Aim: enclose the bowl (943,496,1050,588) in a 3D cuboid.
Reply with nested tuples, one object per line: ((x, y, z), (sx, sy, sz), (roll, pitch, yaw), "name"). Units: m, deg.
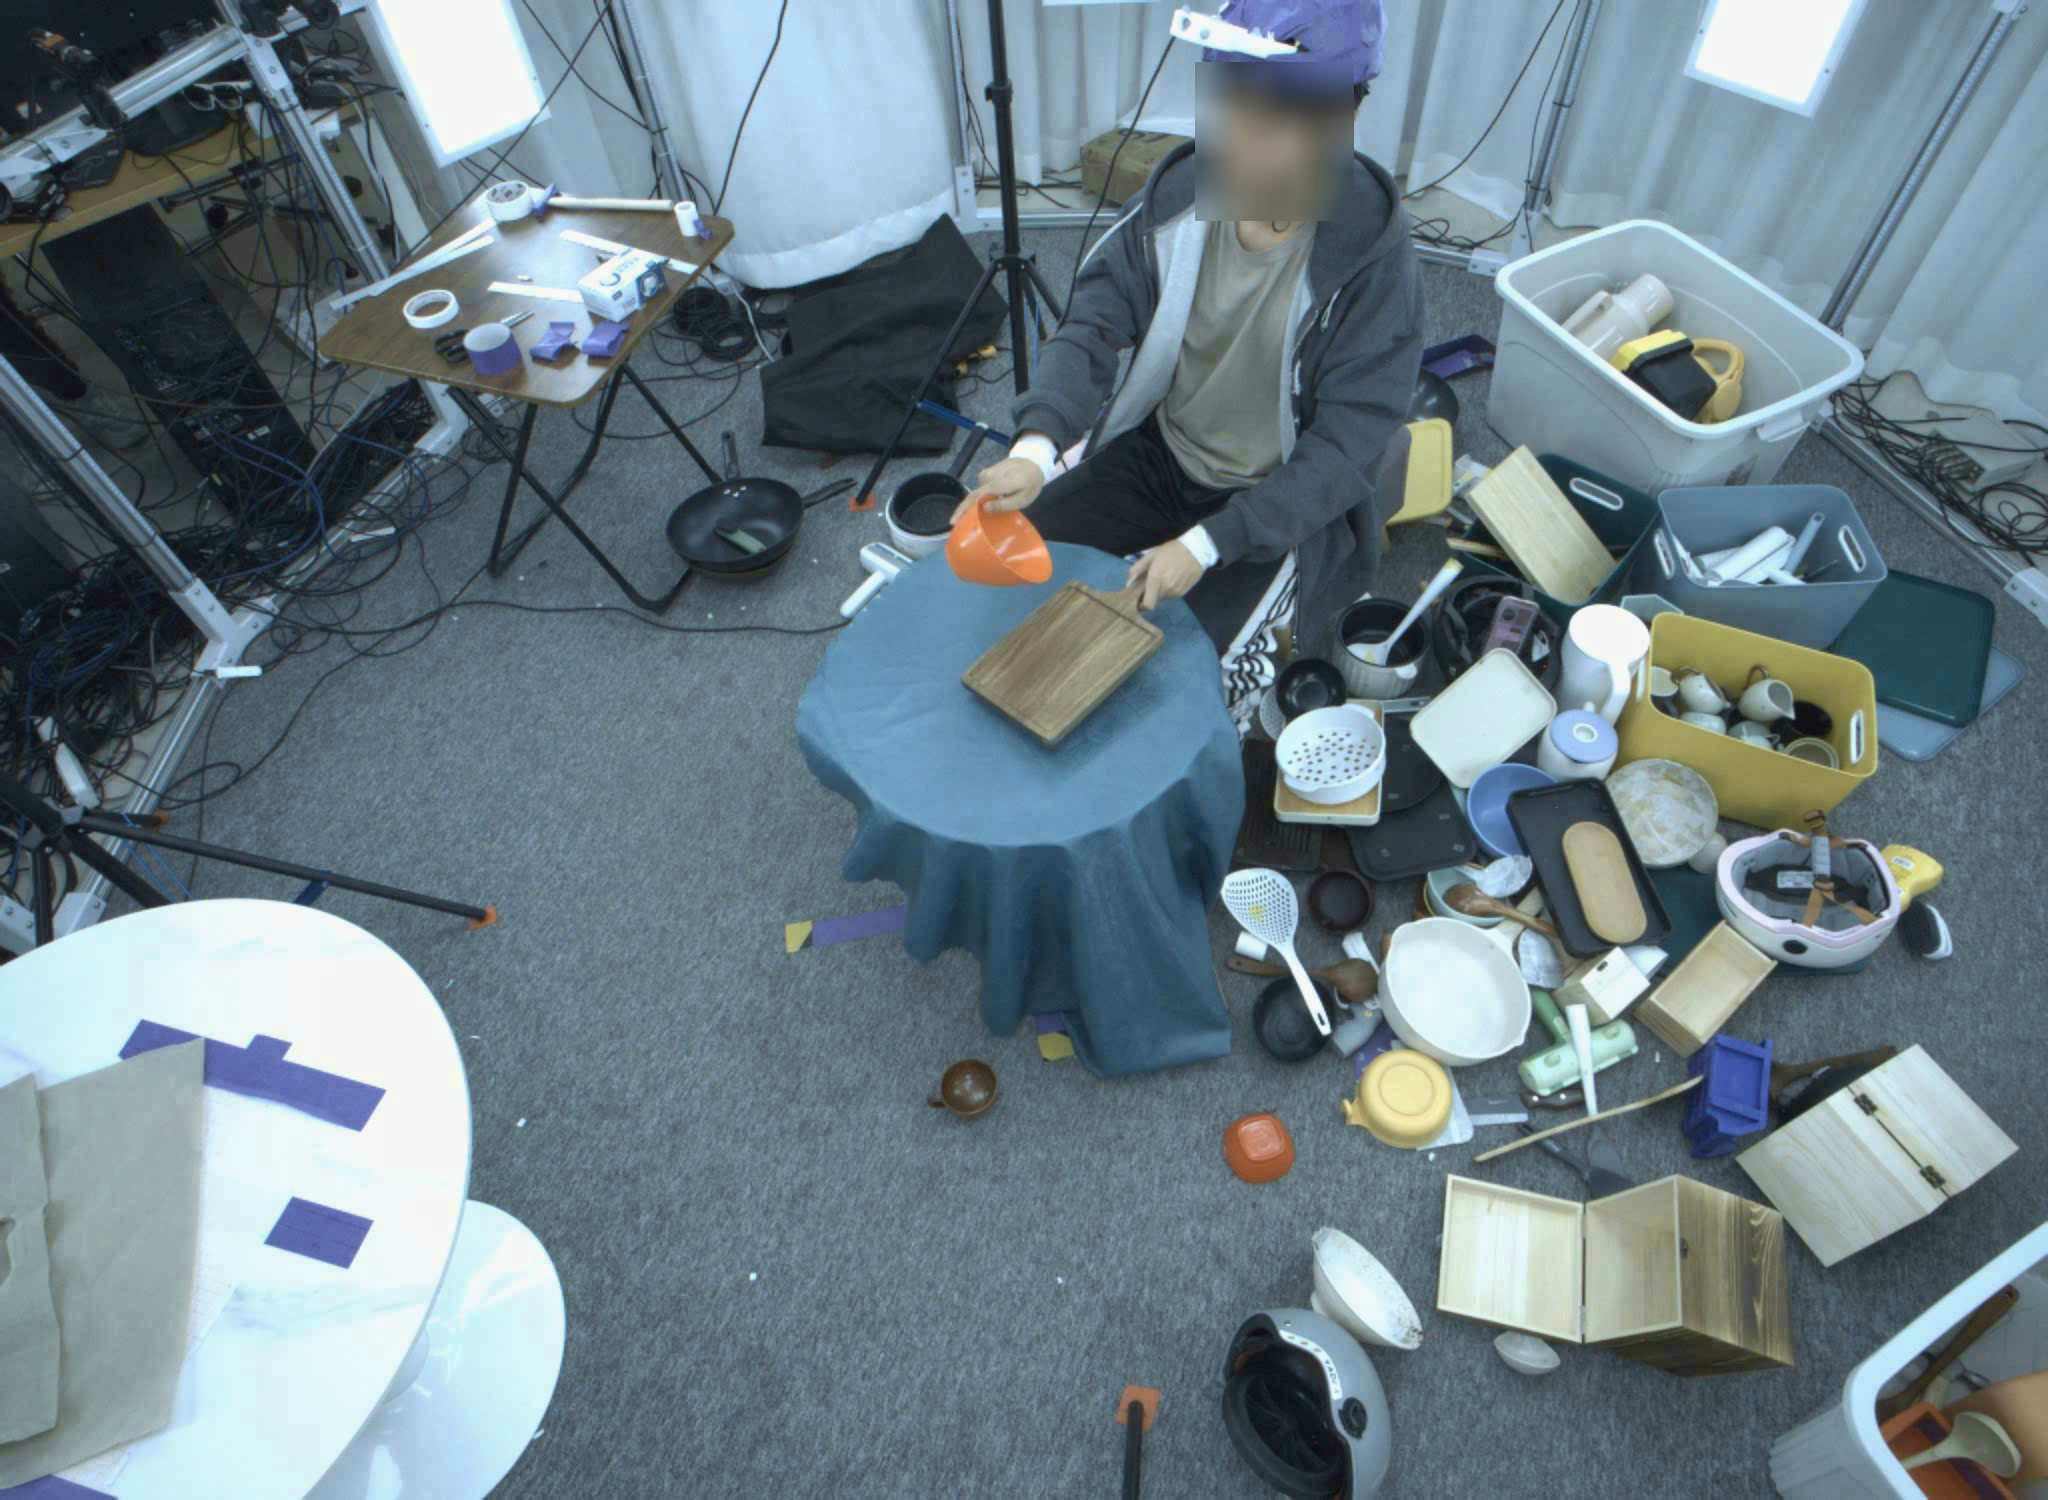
((-0.049, -0.279, 1.734), (0.103, 0.151, 0.146), (-25, 50, 27), "bowl")

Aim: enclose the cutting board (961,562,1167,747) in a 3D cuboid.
((0.092, -0.166, 1.836), (0.197, 0.023, 0.354), (36, 68, 29), "cutting board")
